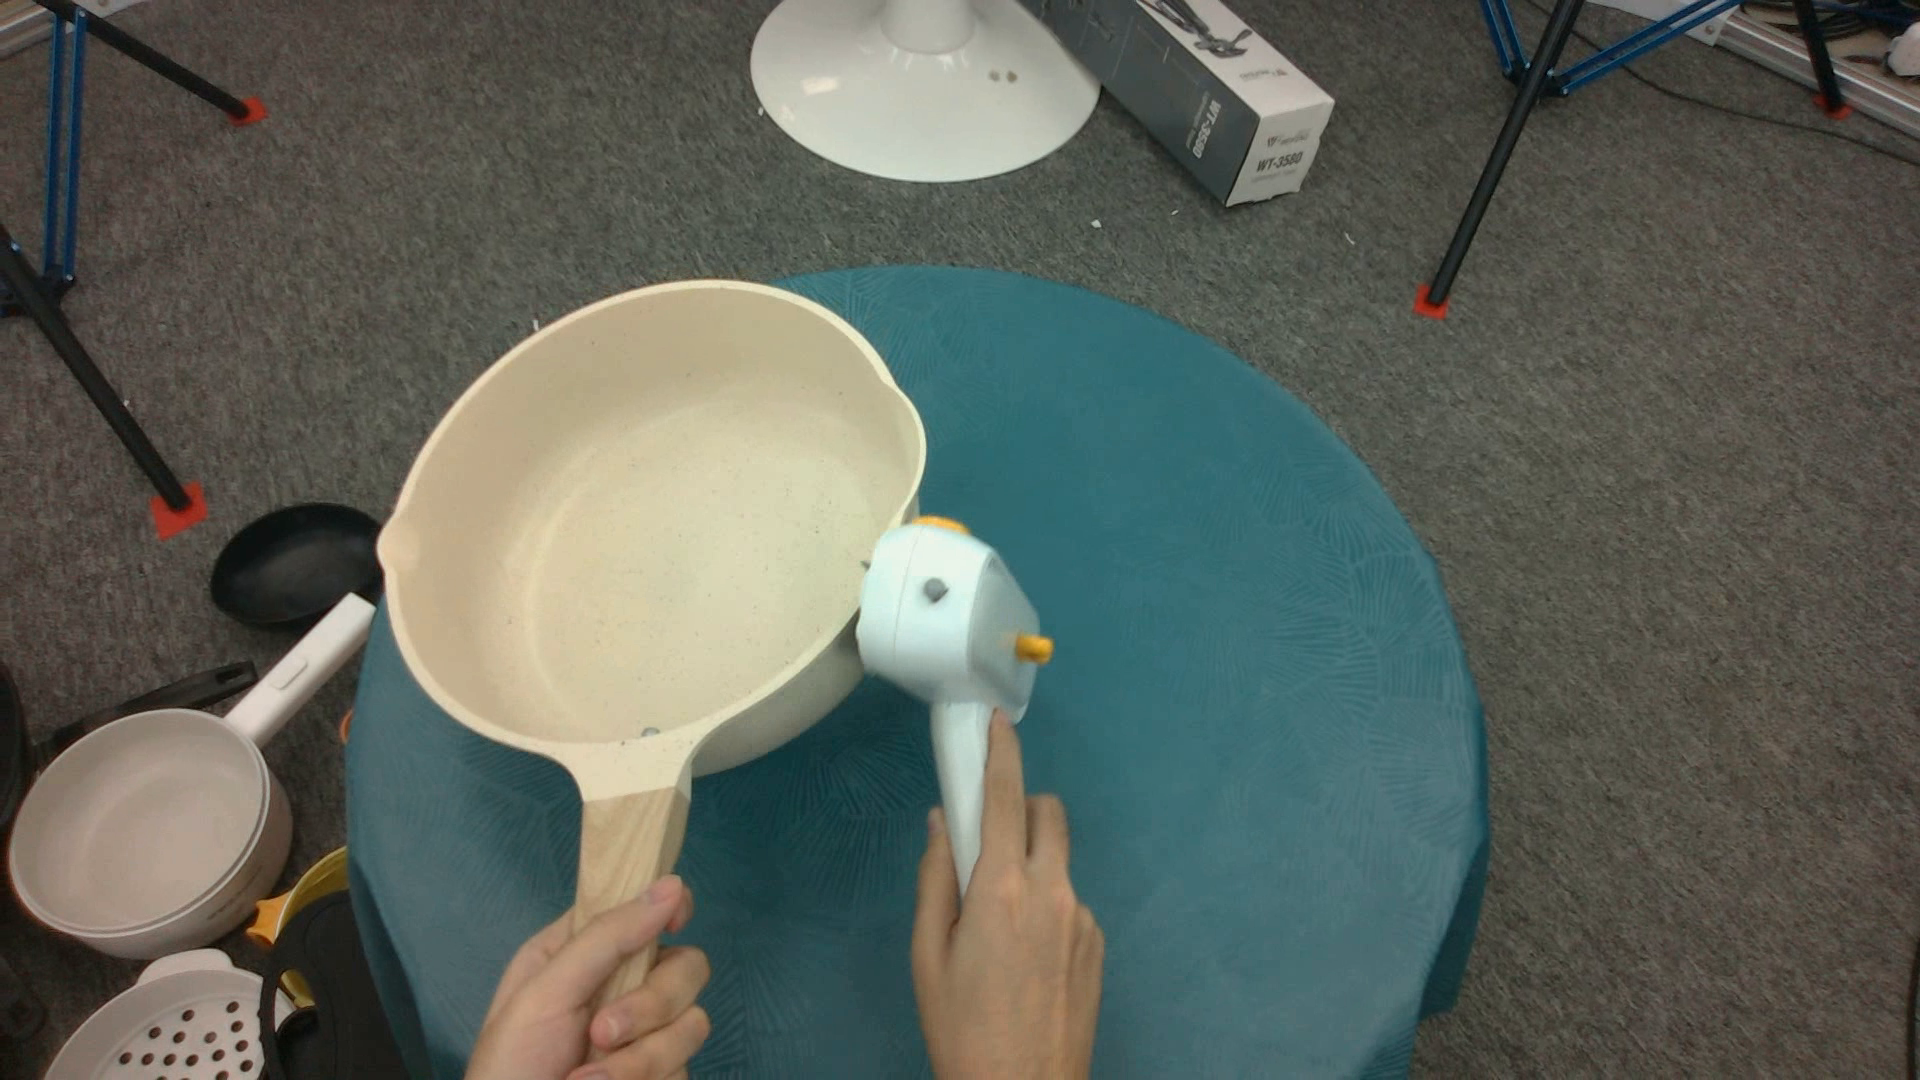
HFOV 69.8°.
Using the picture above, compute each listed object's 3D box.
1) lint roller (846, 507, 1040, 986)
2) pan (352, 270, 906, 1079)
[{"bbox_3d":[-0.002,0.094,0.604,0.074,0.192,0.193,1,79,5],"label":"lint roller"},{"bbox_3d":[-0.139,0.068,0.608,0.263,0.101,0.436,-9,58,5],"label":"pan"}]
